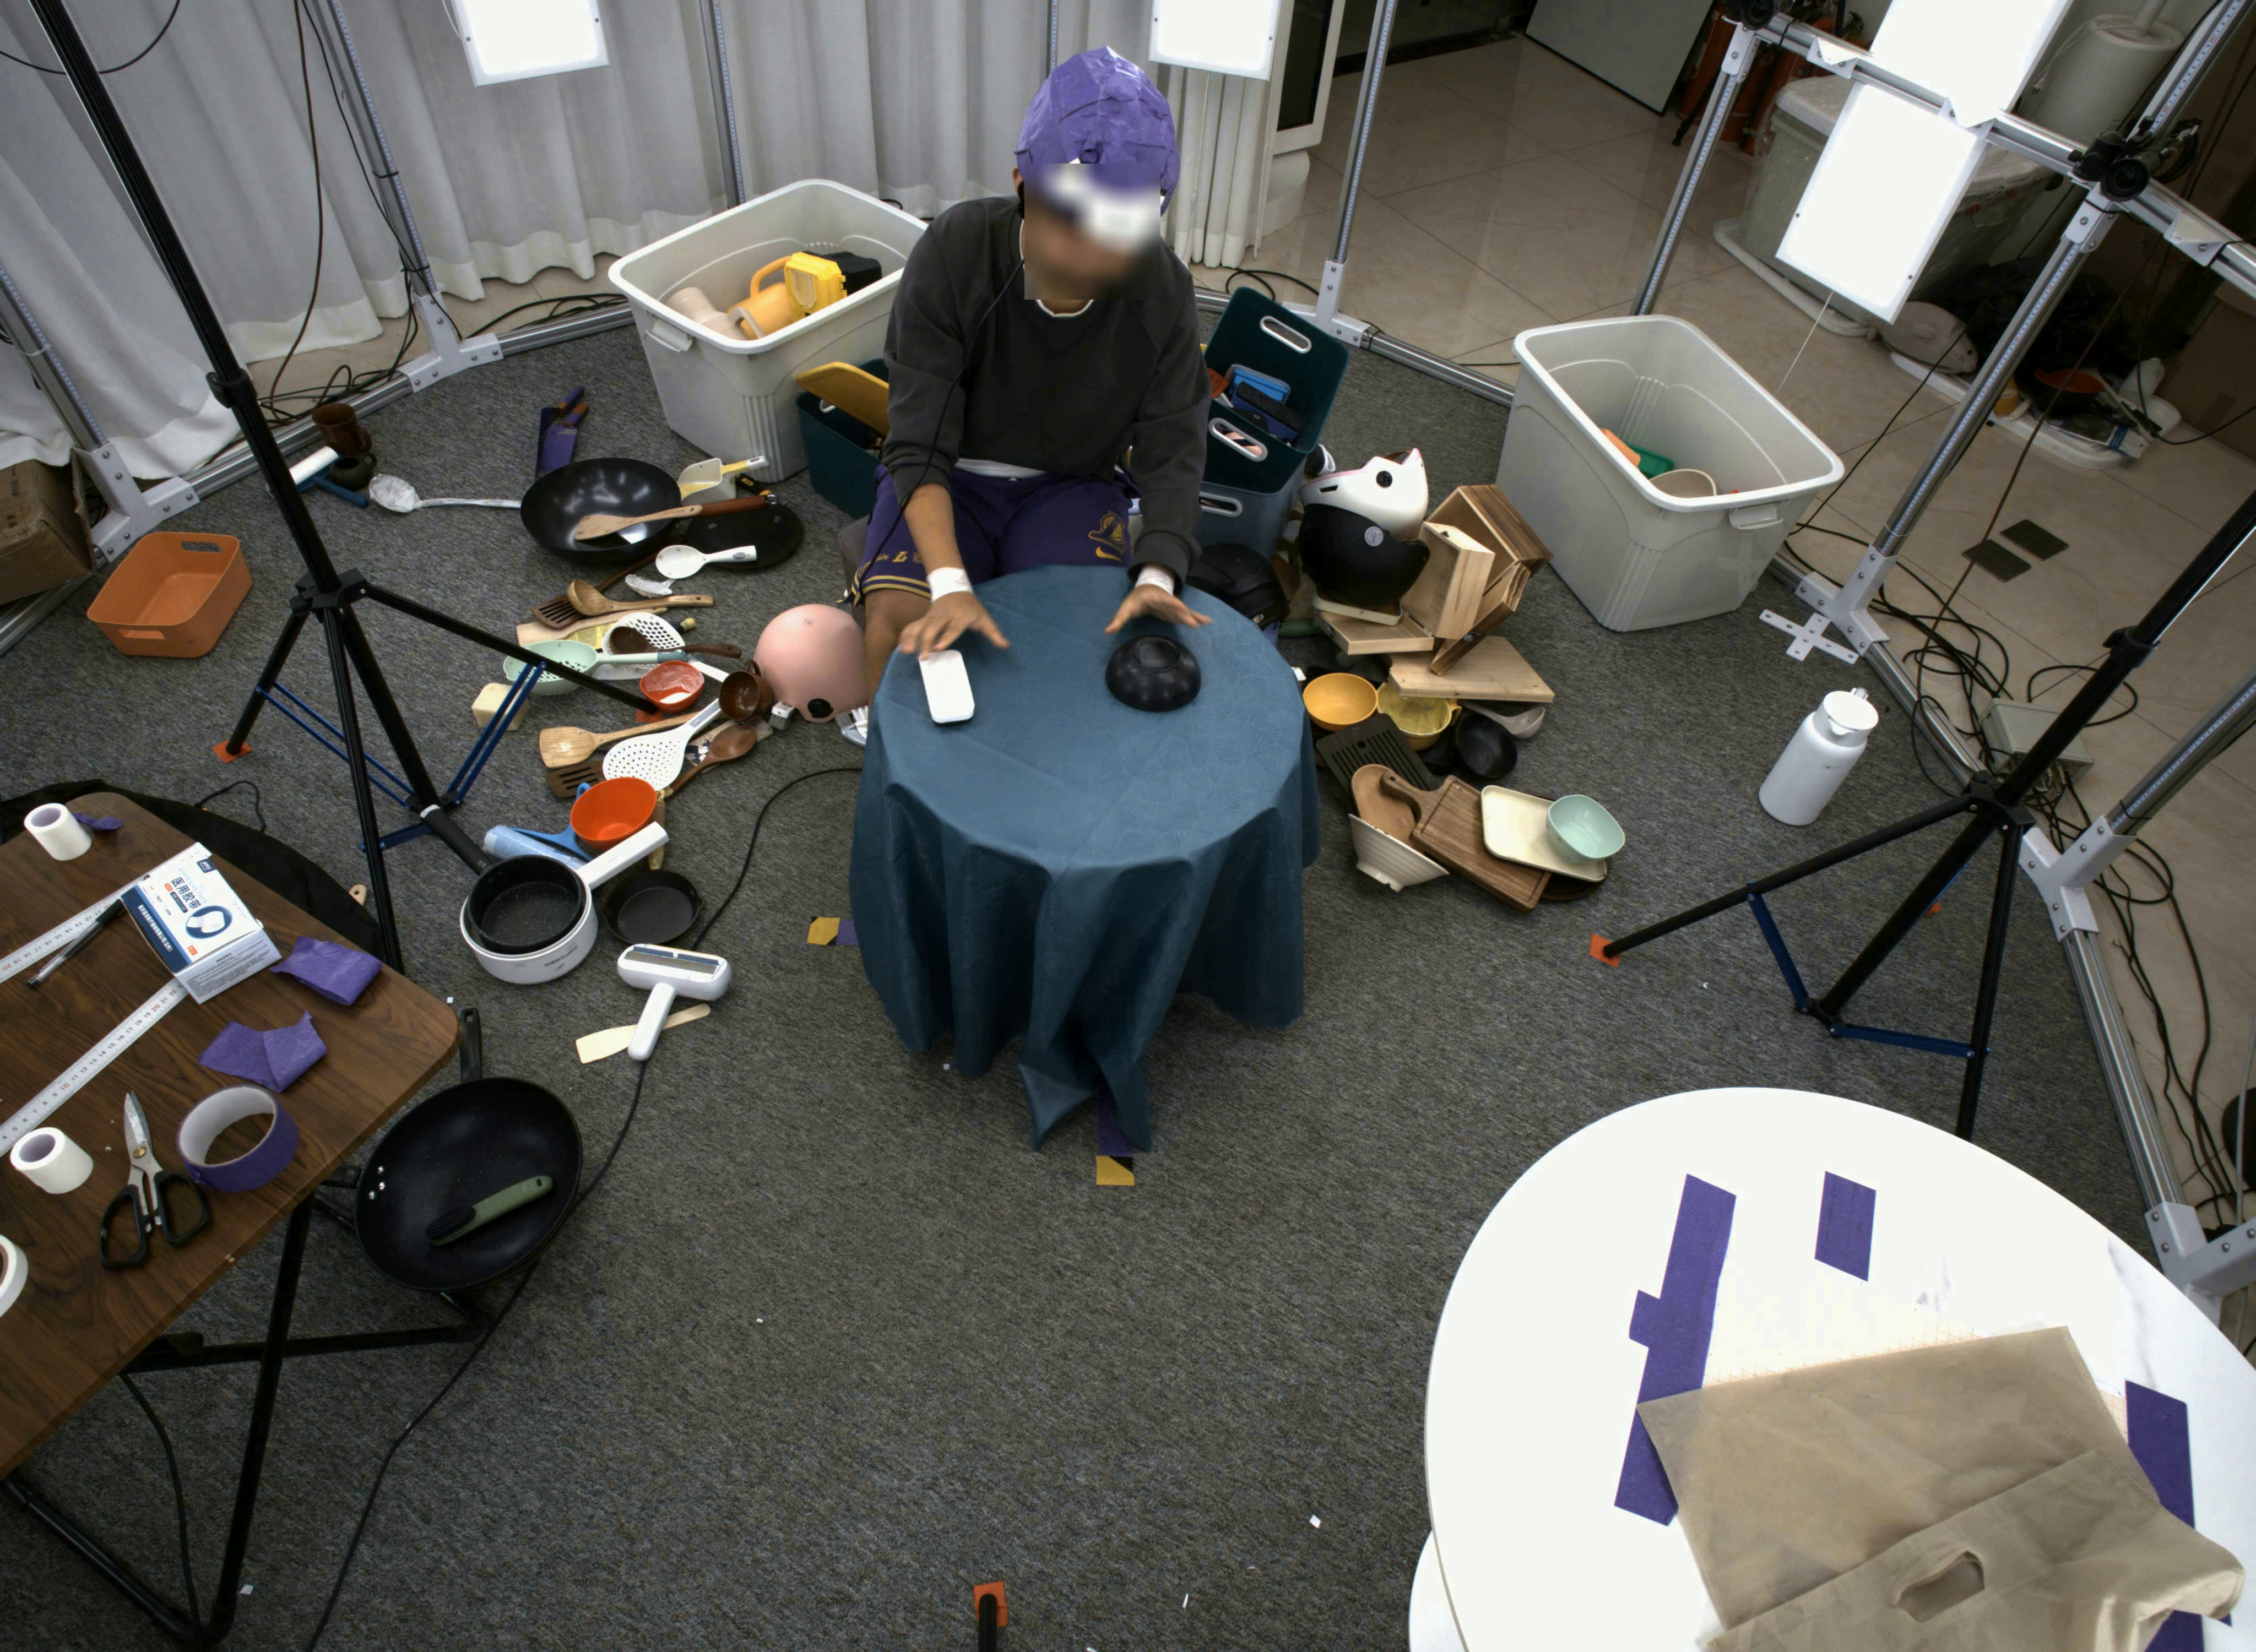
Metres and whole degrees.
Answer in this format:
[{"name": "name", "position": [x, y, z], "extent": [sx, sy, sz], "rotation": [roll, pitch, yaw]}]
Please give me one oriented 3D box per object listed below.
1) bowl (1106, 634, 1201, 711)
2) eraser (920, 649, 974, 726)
[{"name": "bowl", "position": [0.038, -0.231, 1.836], "extent": [0.140, 0.048, 0.143], "rotation": [1, 50, -2]}, {"name": "eraser", "position": [-0.252, -0.197, 1.800], "extent": [0.063, 0.034, 0.134], "rotation": [-7, 51, -11]}]
